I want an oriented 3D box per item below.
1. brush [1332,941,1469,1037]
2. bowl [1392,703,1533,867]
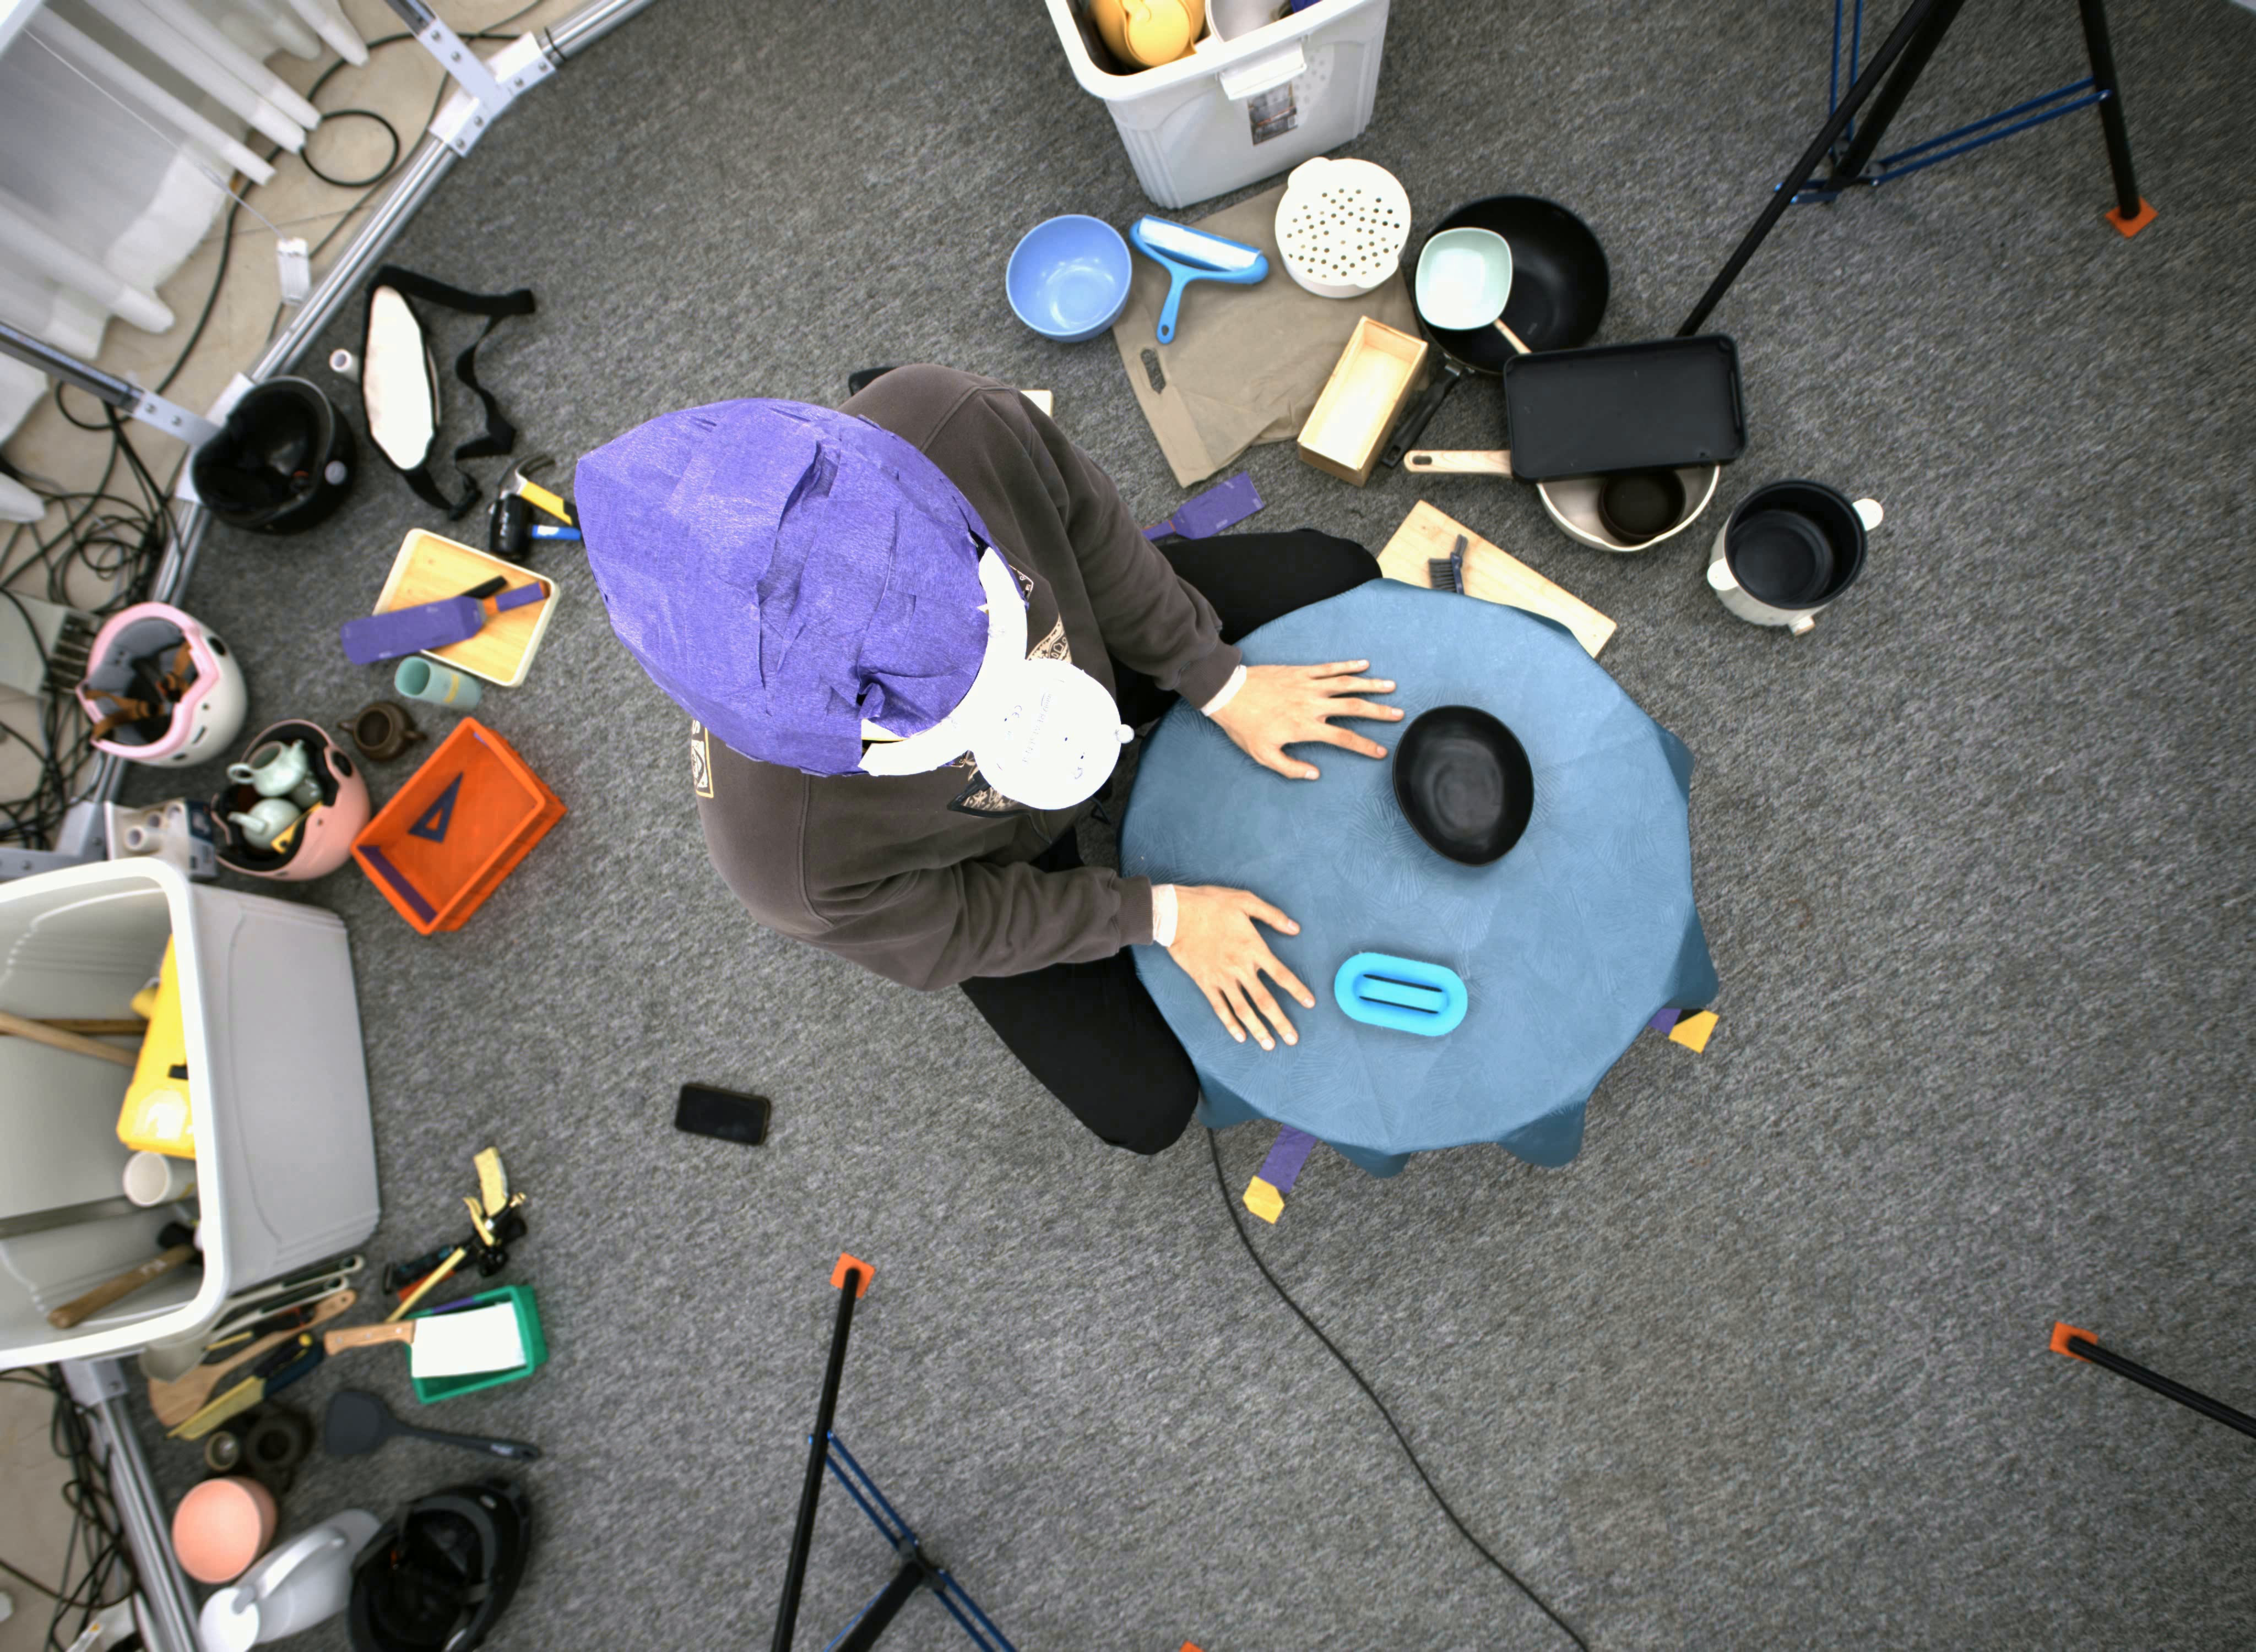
[{"bbox_3d":[0.279,0.167,1.418,0.142,0.063,0.084,13,93,12],"label":"brush"},{"bbox_3d":[0.344,-0.043,1.417,0.138,0.066,0.169,-20,85,9],"label":"bowl"}]
